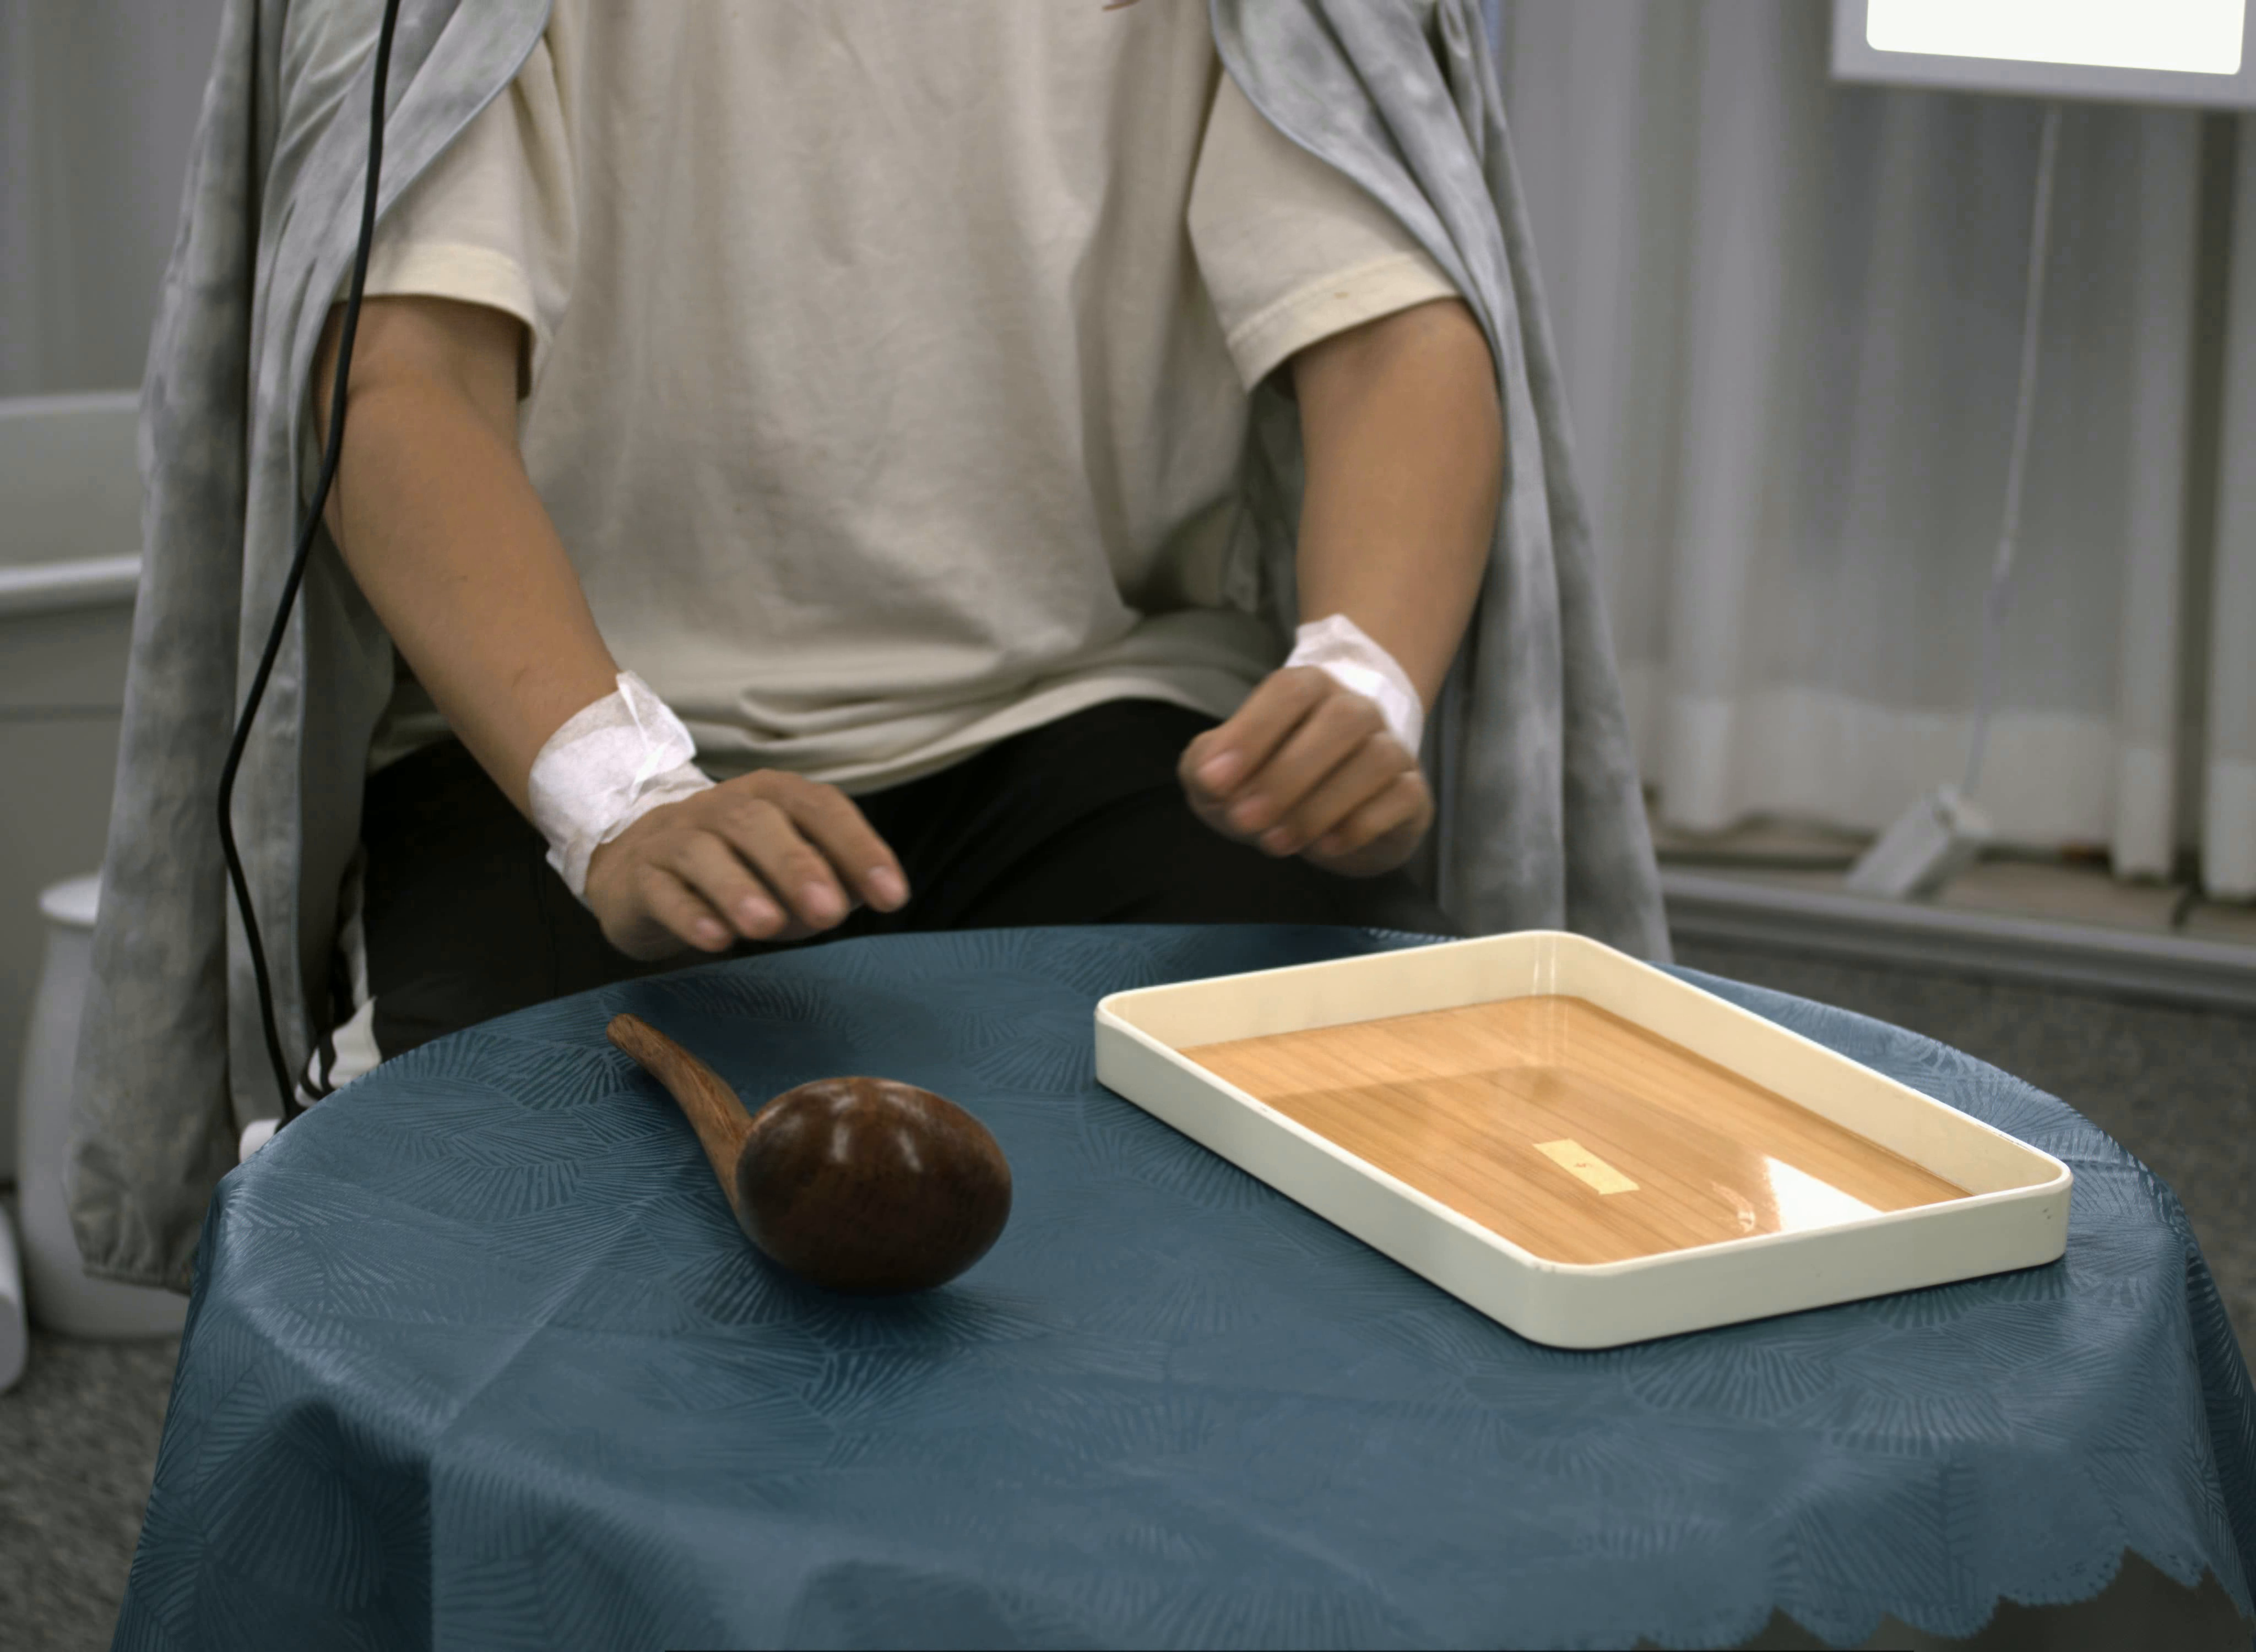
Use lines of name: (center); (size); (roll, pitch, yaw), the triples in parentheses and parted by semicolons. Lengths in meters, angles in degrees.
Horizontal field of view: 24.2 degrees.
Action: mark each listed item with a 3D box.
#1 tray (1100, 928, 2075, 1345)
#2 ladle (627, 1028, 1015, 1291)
tray: (0.137, 0.092, 1.652); (0.192, 0.027, 0.296); (-8, 17, -27)
ladle: (-0.103, 0.079, 1.612); (0.082, 0.076, 0.271); (39, 1, -21)
